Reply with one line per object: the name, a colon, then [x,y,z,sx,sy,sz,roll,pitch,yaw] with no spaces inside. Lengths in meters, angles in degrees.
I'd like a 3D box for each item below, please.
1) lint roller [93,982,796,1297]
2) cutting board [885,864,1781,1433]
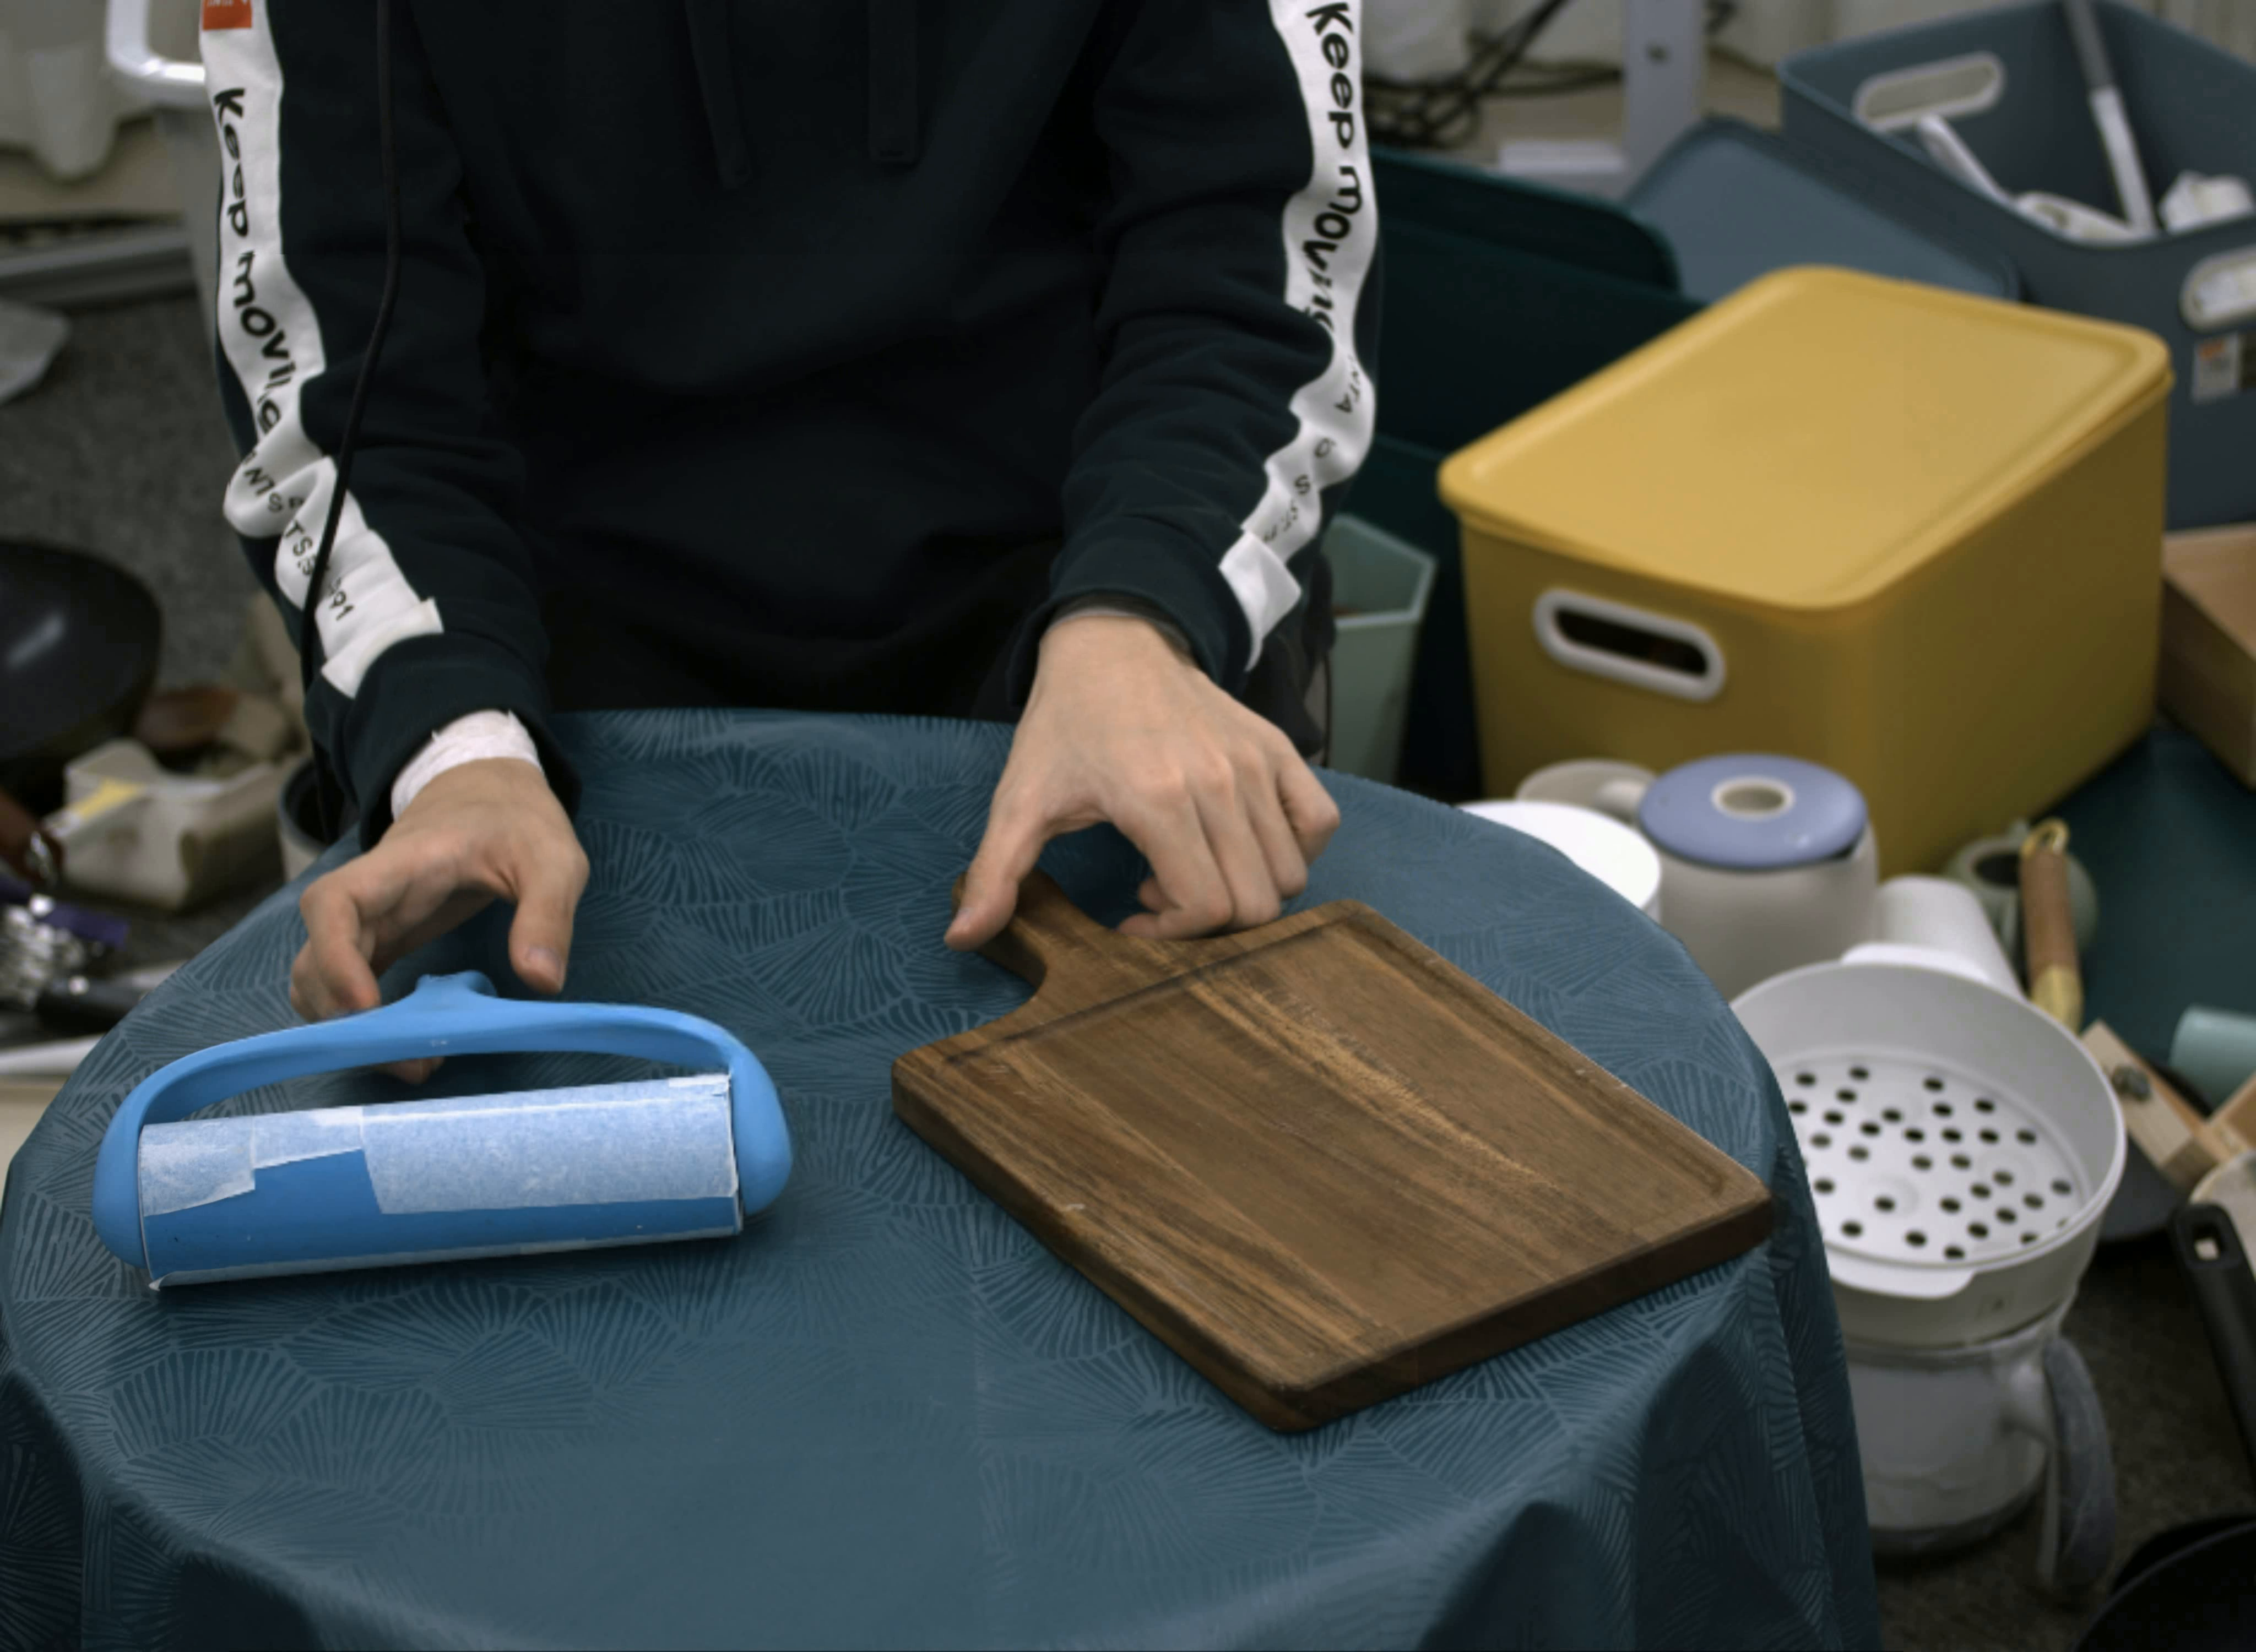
lint roller: [-0.230,0.088,1.885,0.228,0.067,0.183,-7,29,-5]
cutting board: [0.038,0.088,1.897,0.202,0.023,0.353,-18,31,-28]
